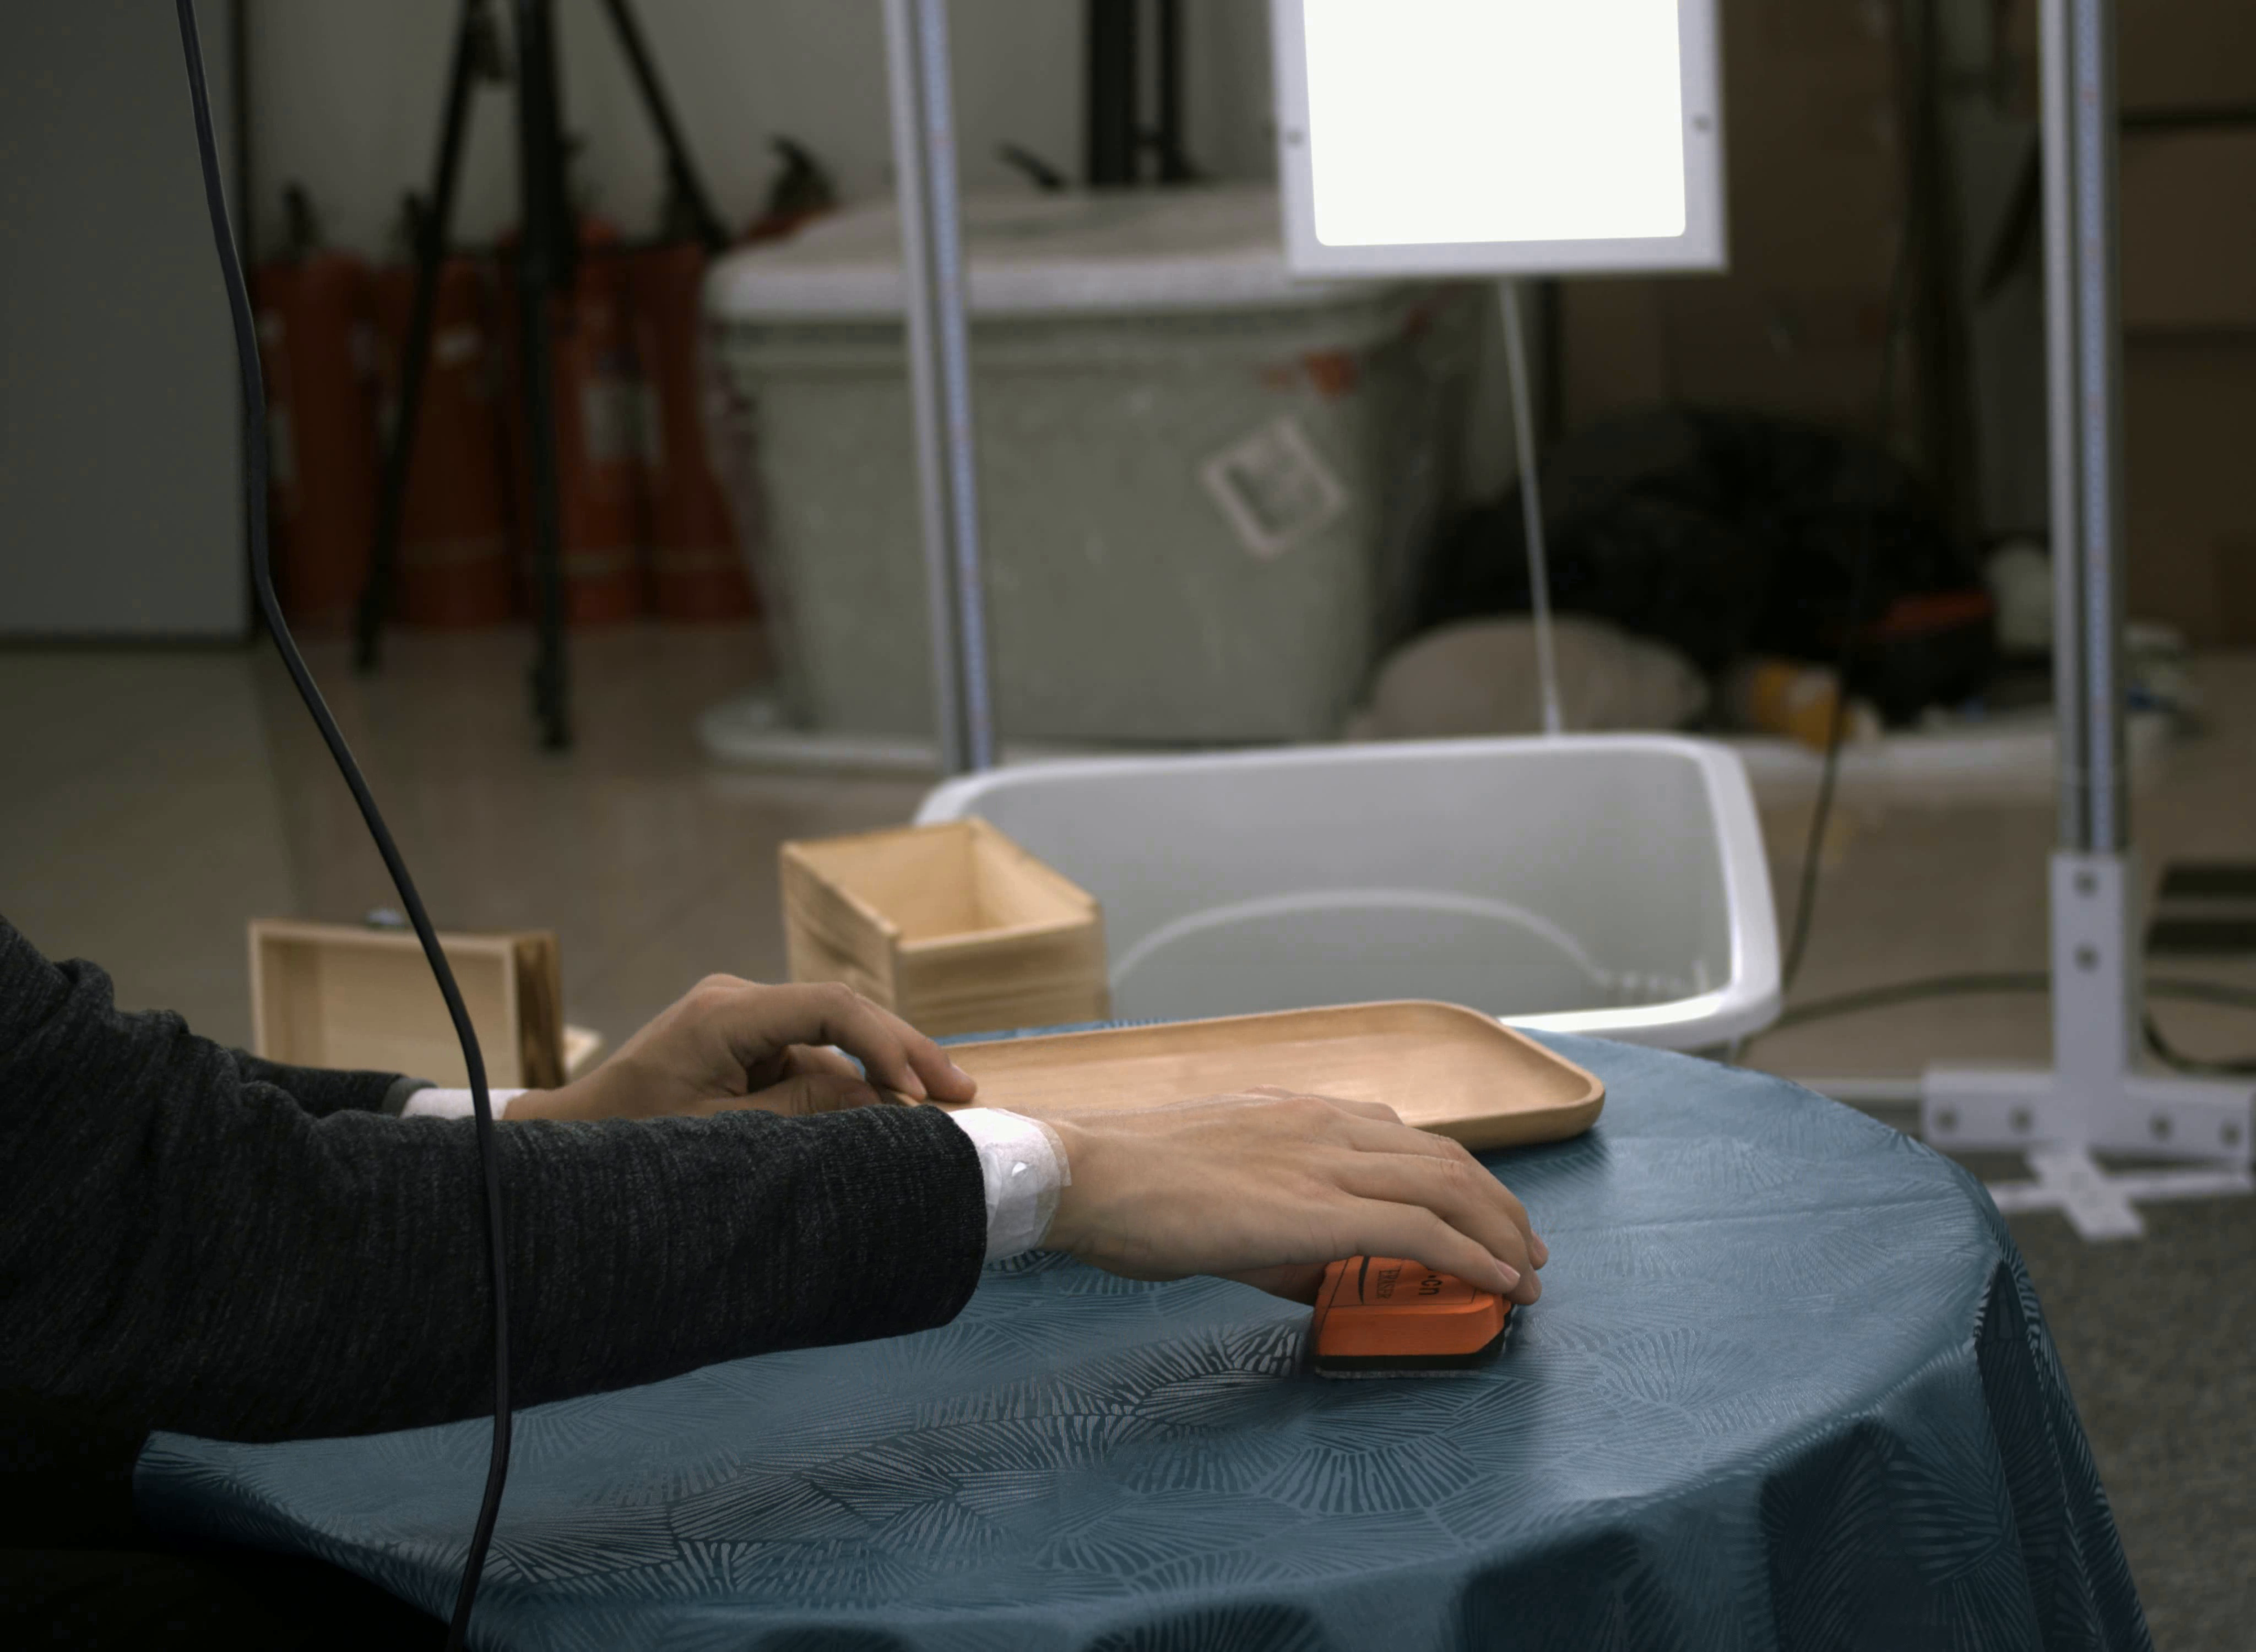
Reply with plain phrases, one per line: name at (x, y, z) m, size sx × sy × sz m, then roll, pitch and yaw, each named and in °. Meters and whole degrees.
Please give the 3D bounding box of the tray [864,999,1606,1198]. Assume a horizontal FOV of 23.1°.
tray at (0.038, 0.094, 1.914) m, size 0.245 × 0.023 × 0.132 m, roll -5°, pitch 15°, yaw -25°

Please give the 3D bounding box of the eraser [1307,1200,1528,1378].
eraser at (0.093, 0.145, 1.737) m, size 0.059 × 0.023 × 0.107 m, roll -3°, pitch 14°, yaw 13°
